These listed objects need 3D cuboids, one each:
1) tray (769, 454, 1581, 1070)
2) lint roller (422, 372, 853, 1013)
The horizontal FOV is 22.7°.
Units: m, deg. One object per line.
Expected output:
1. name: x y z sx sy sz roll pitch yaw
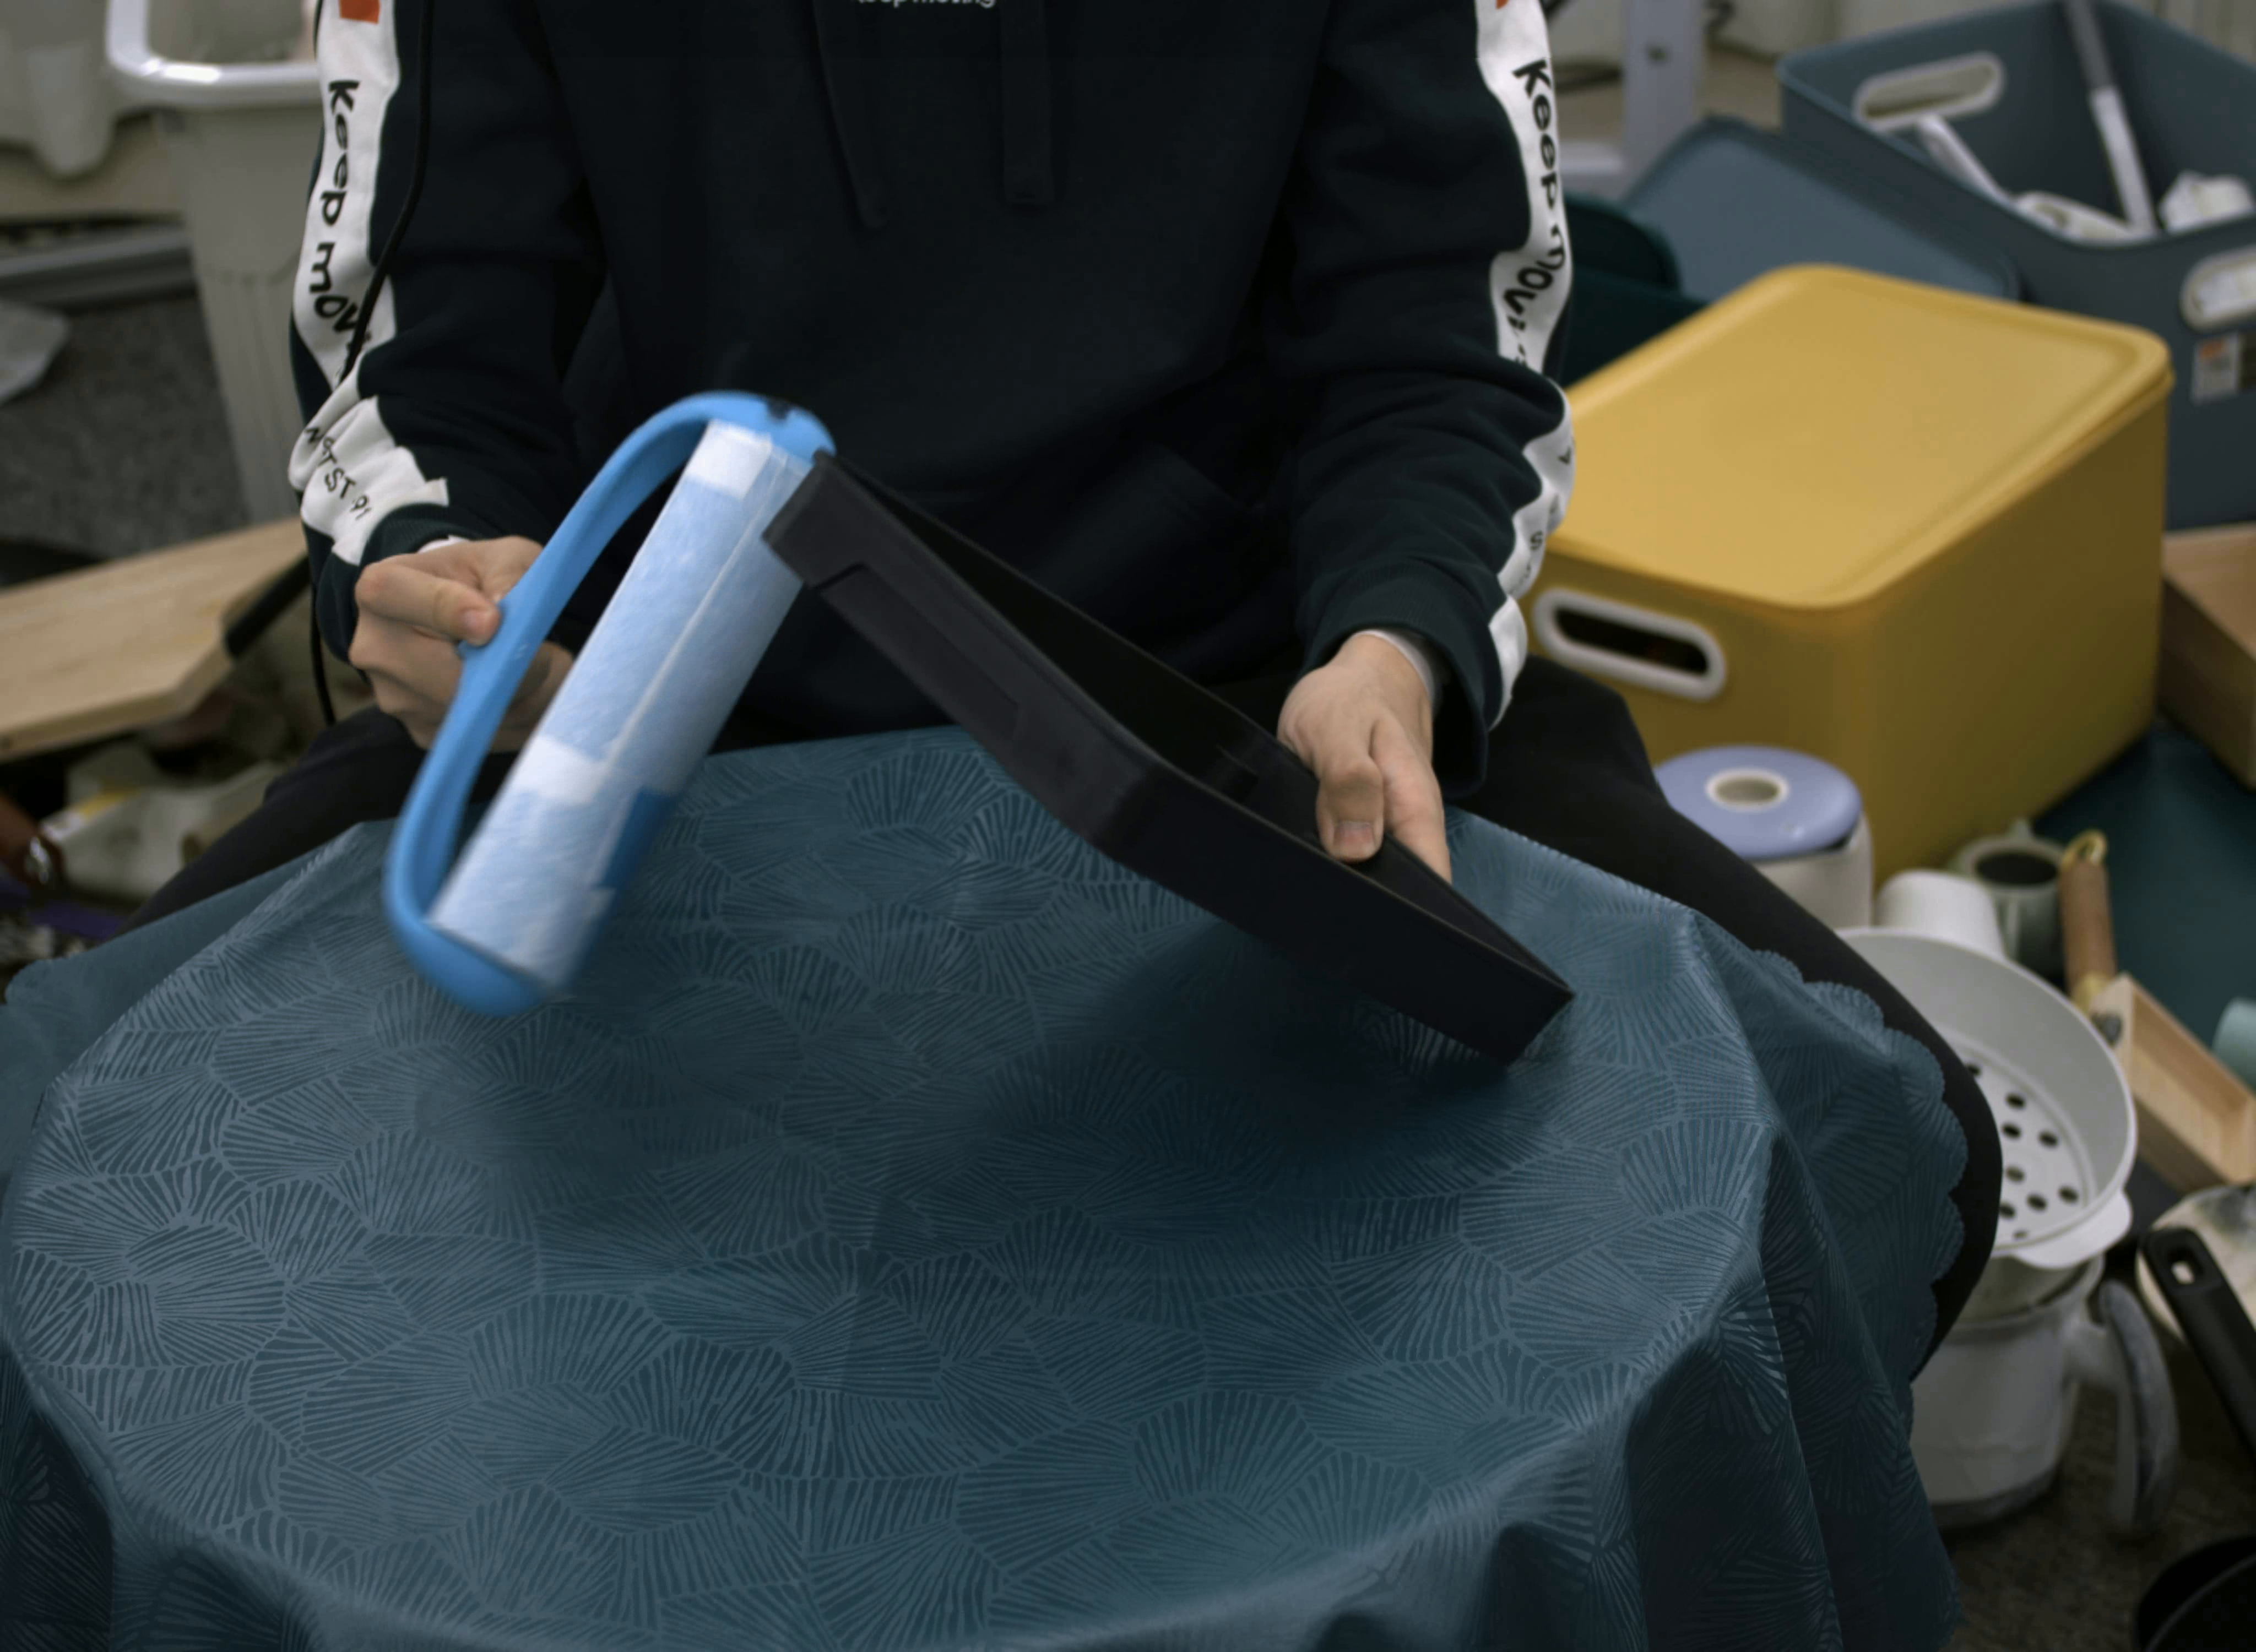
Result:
1. tray: 0.020 -0.016 1.842 0.185 0.037 0.317 42 7 32
2. lint roller: -0.190 -0.051 1.920 0.067 0.231 0.179 30 -12 -34
